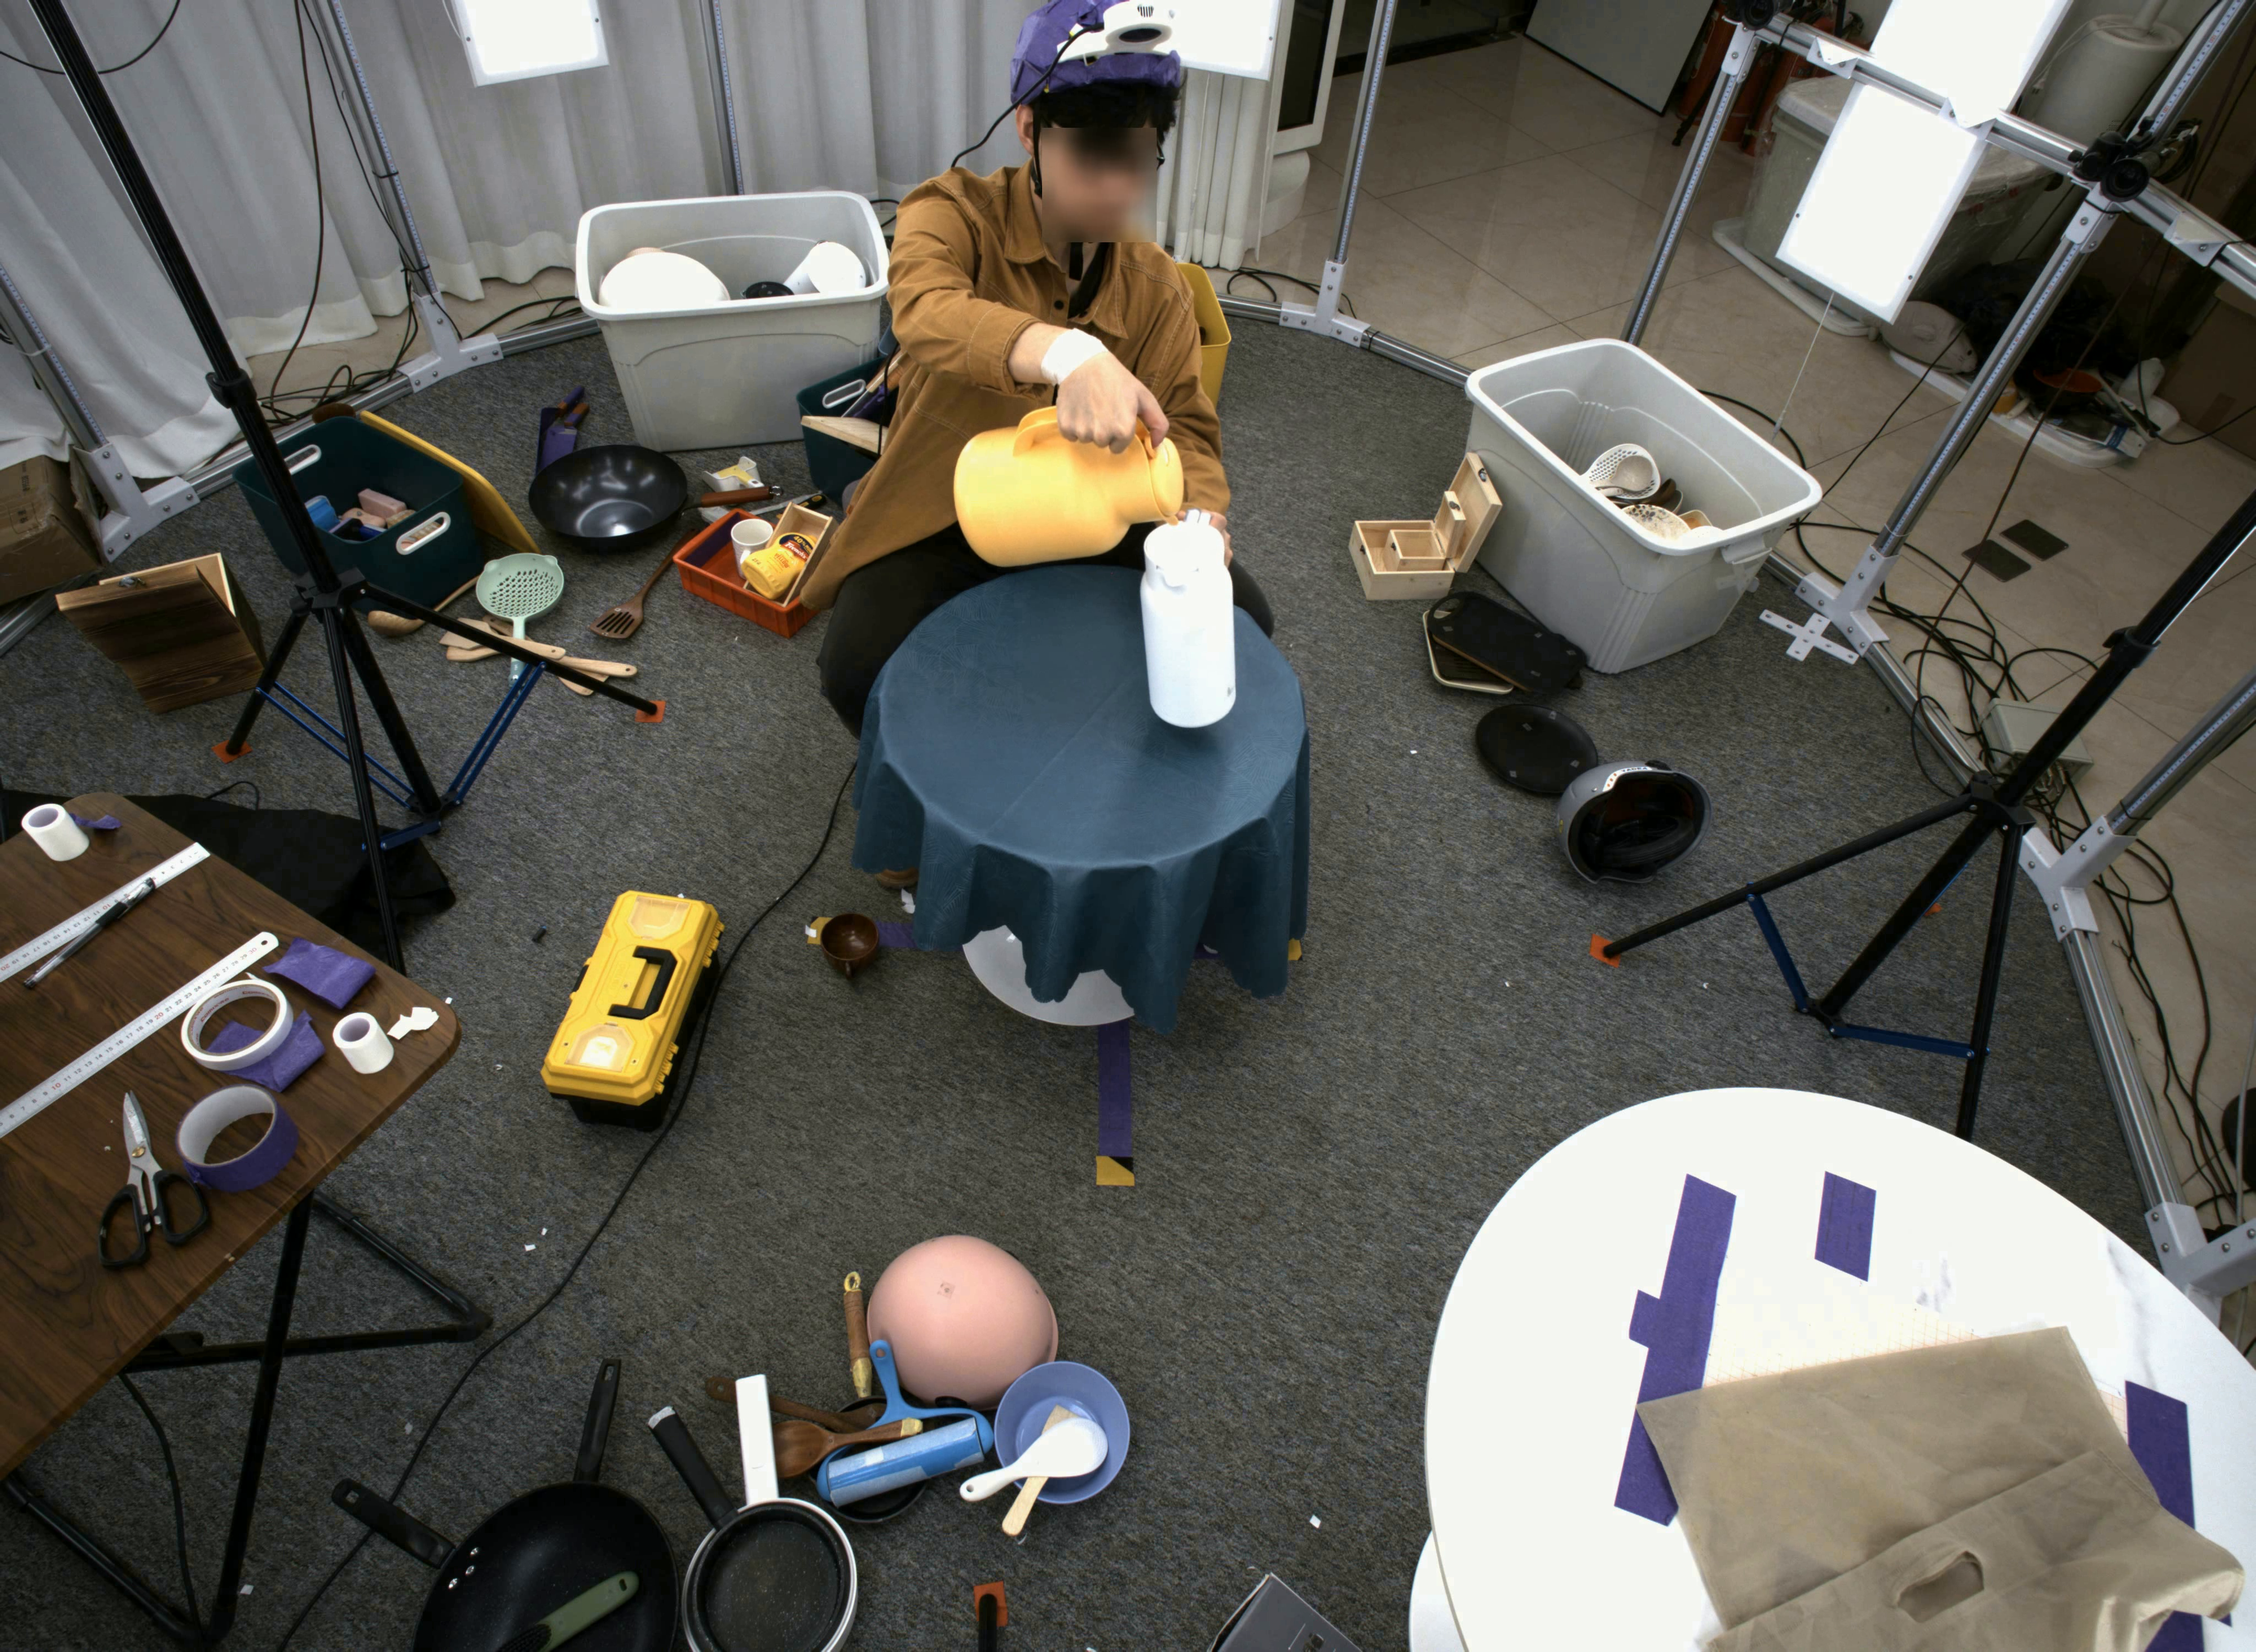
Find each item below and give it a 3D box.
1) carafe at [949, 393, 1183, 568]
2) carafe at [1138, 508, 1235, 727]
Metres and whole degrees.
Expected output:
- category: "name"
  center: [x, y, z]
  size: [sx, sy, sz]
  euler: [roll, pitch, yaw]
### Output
- category: "carafe"
  center: [-0.073, -0.405, 1.491]
  size: [0.260, 0.198, 0.167]
  euler: [-4, 56, 18]
- category: "carafe"
  center: [0.079, -0.271, 1.669]
  size: [0.124, 0.262, 0.177]
  euler: [4, 48, 14]
